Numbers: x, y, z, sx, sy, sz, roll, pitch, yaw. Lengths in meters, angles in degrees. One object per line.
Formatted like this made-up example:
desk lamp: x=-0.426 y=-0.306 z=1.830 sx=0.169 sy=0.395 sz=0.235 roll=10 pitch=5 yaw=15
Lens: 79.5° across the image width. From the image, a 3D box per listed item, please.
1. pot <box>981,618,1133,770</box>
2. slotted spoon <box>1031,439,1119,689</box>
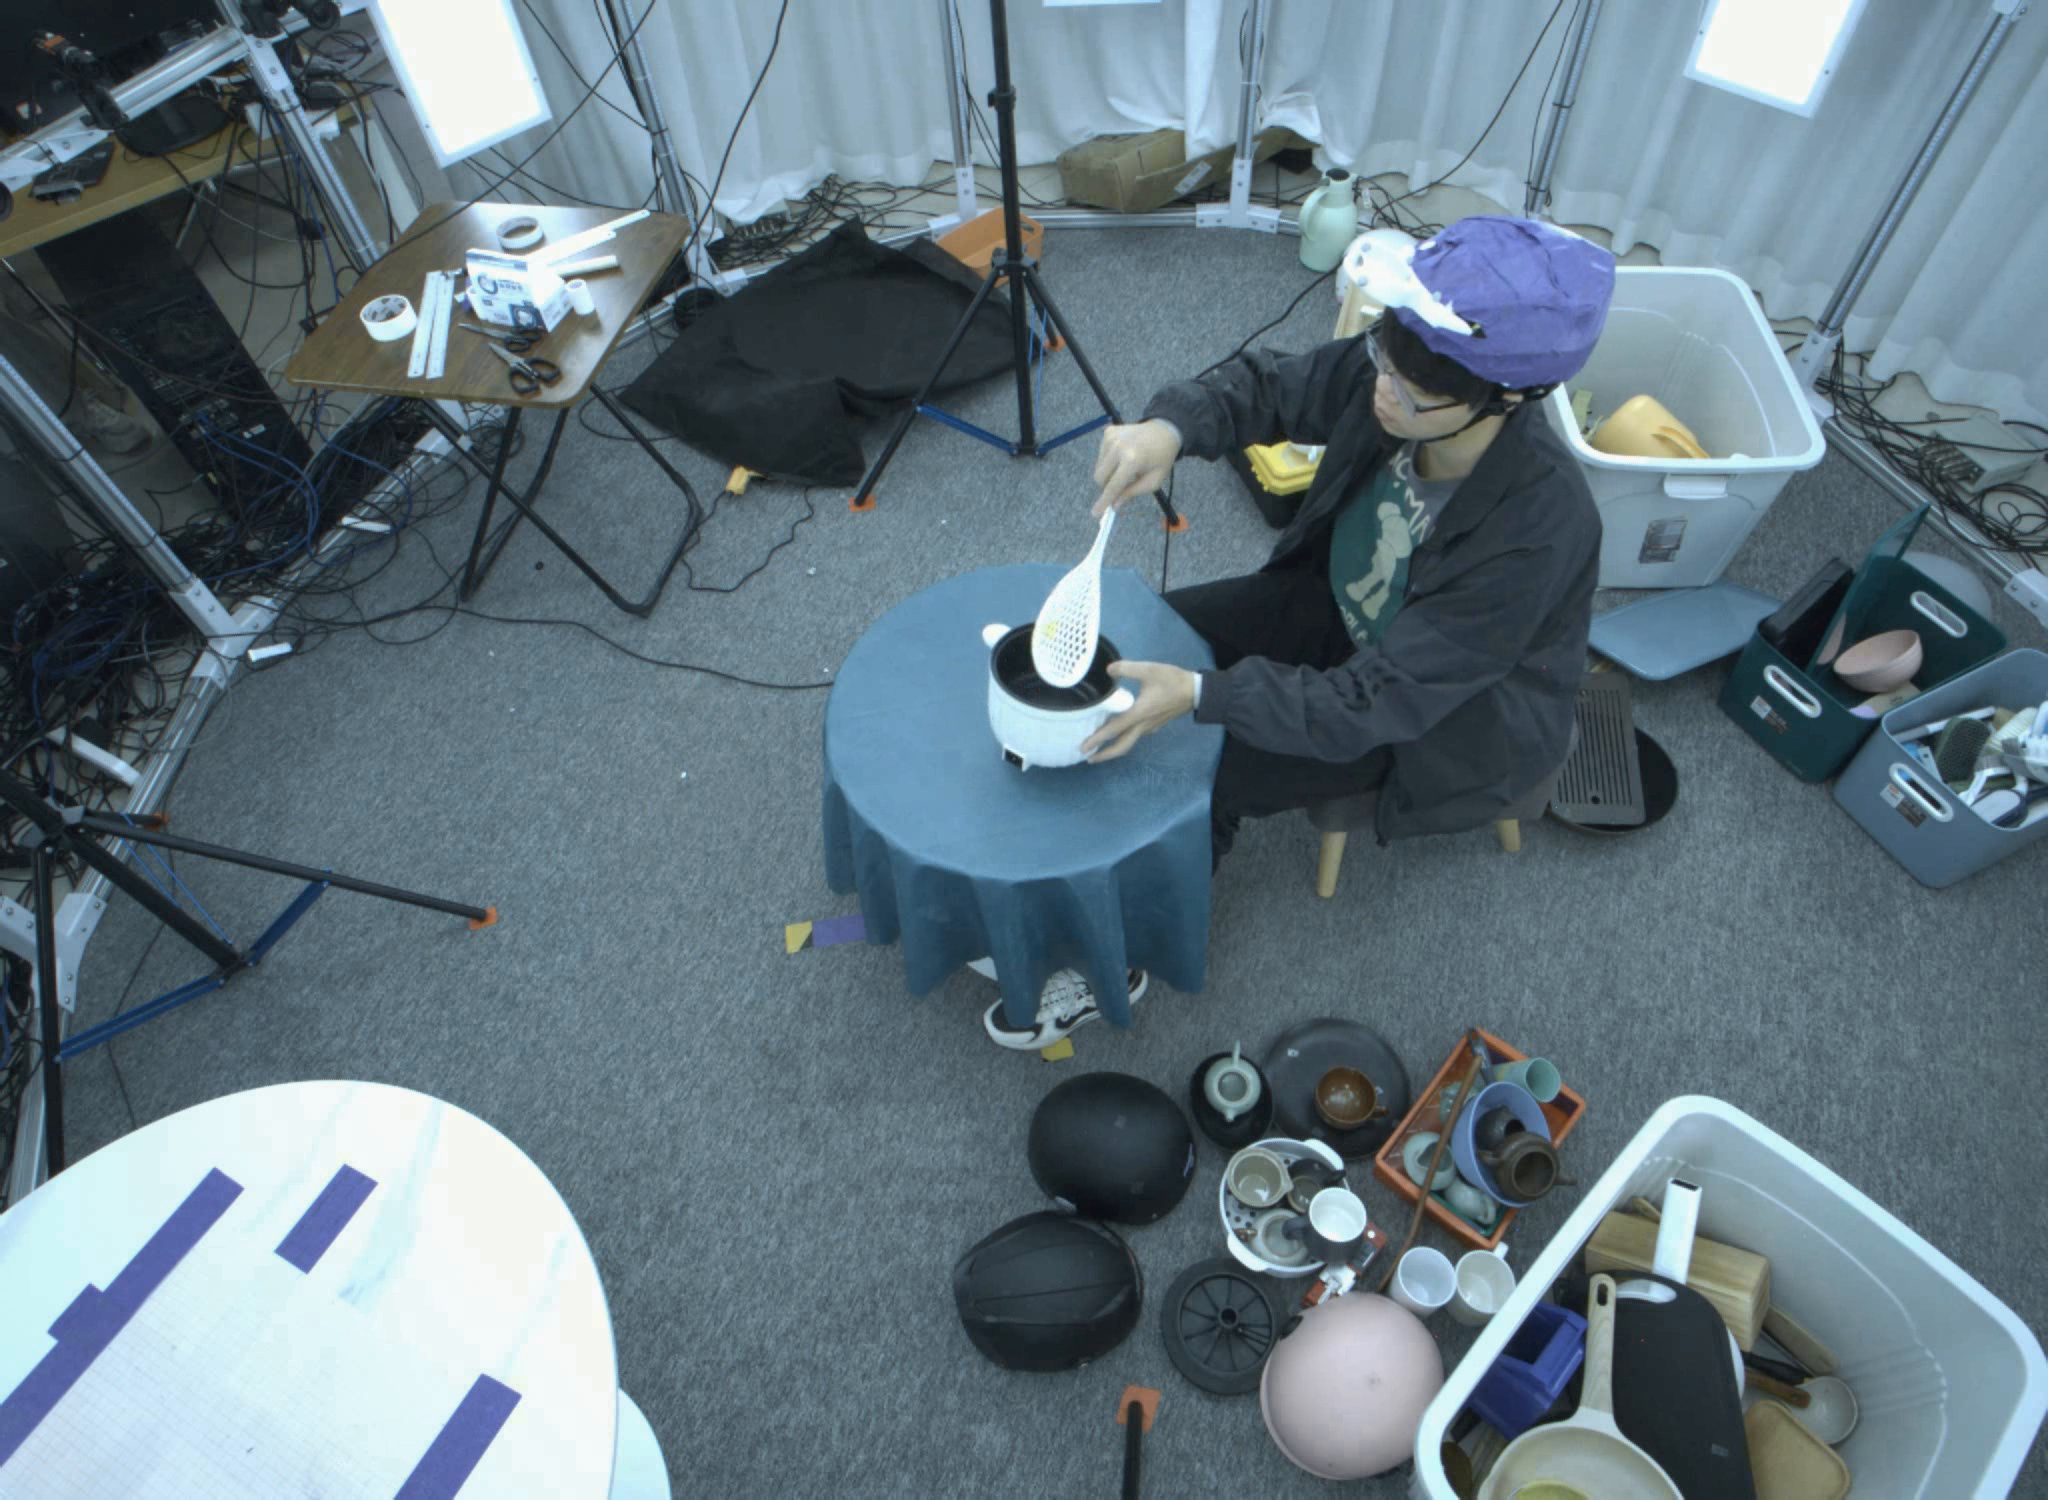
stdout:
pot: x=0.041 y=-0.077 z=1.701 sx=0.237 sy=0.144 sz=0.192 roll=30 pitch=54 yaw=19
slotted spoon: x=0.082 y=-0.253 z=1.647 sx=0.049 sy=0.140 sz=0.348 roll=21 pitch=90 yaw=37
